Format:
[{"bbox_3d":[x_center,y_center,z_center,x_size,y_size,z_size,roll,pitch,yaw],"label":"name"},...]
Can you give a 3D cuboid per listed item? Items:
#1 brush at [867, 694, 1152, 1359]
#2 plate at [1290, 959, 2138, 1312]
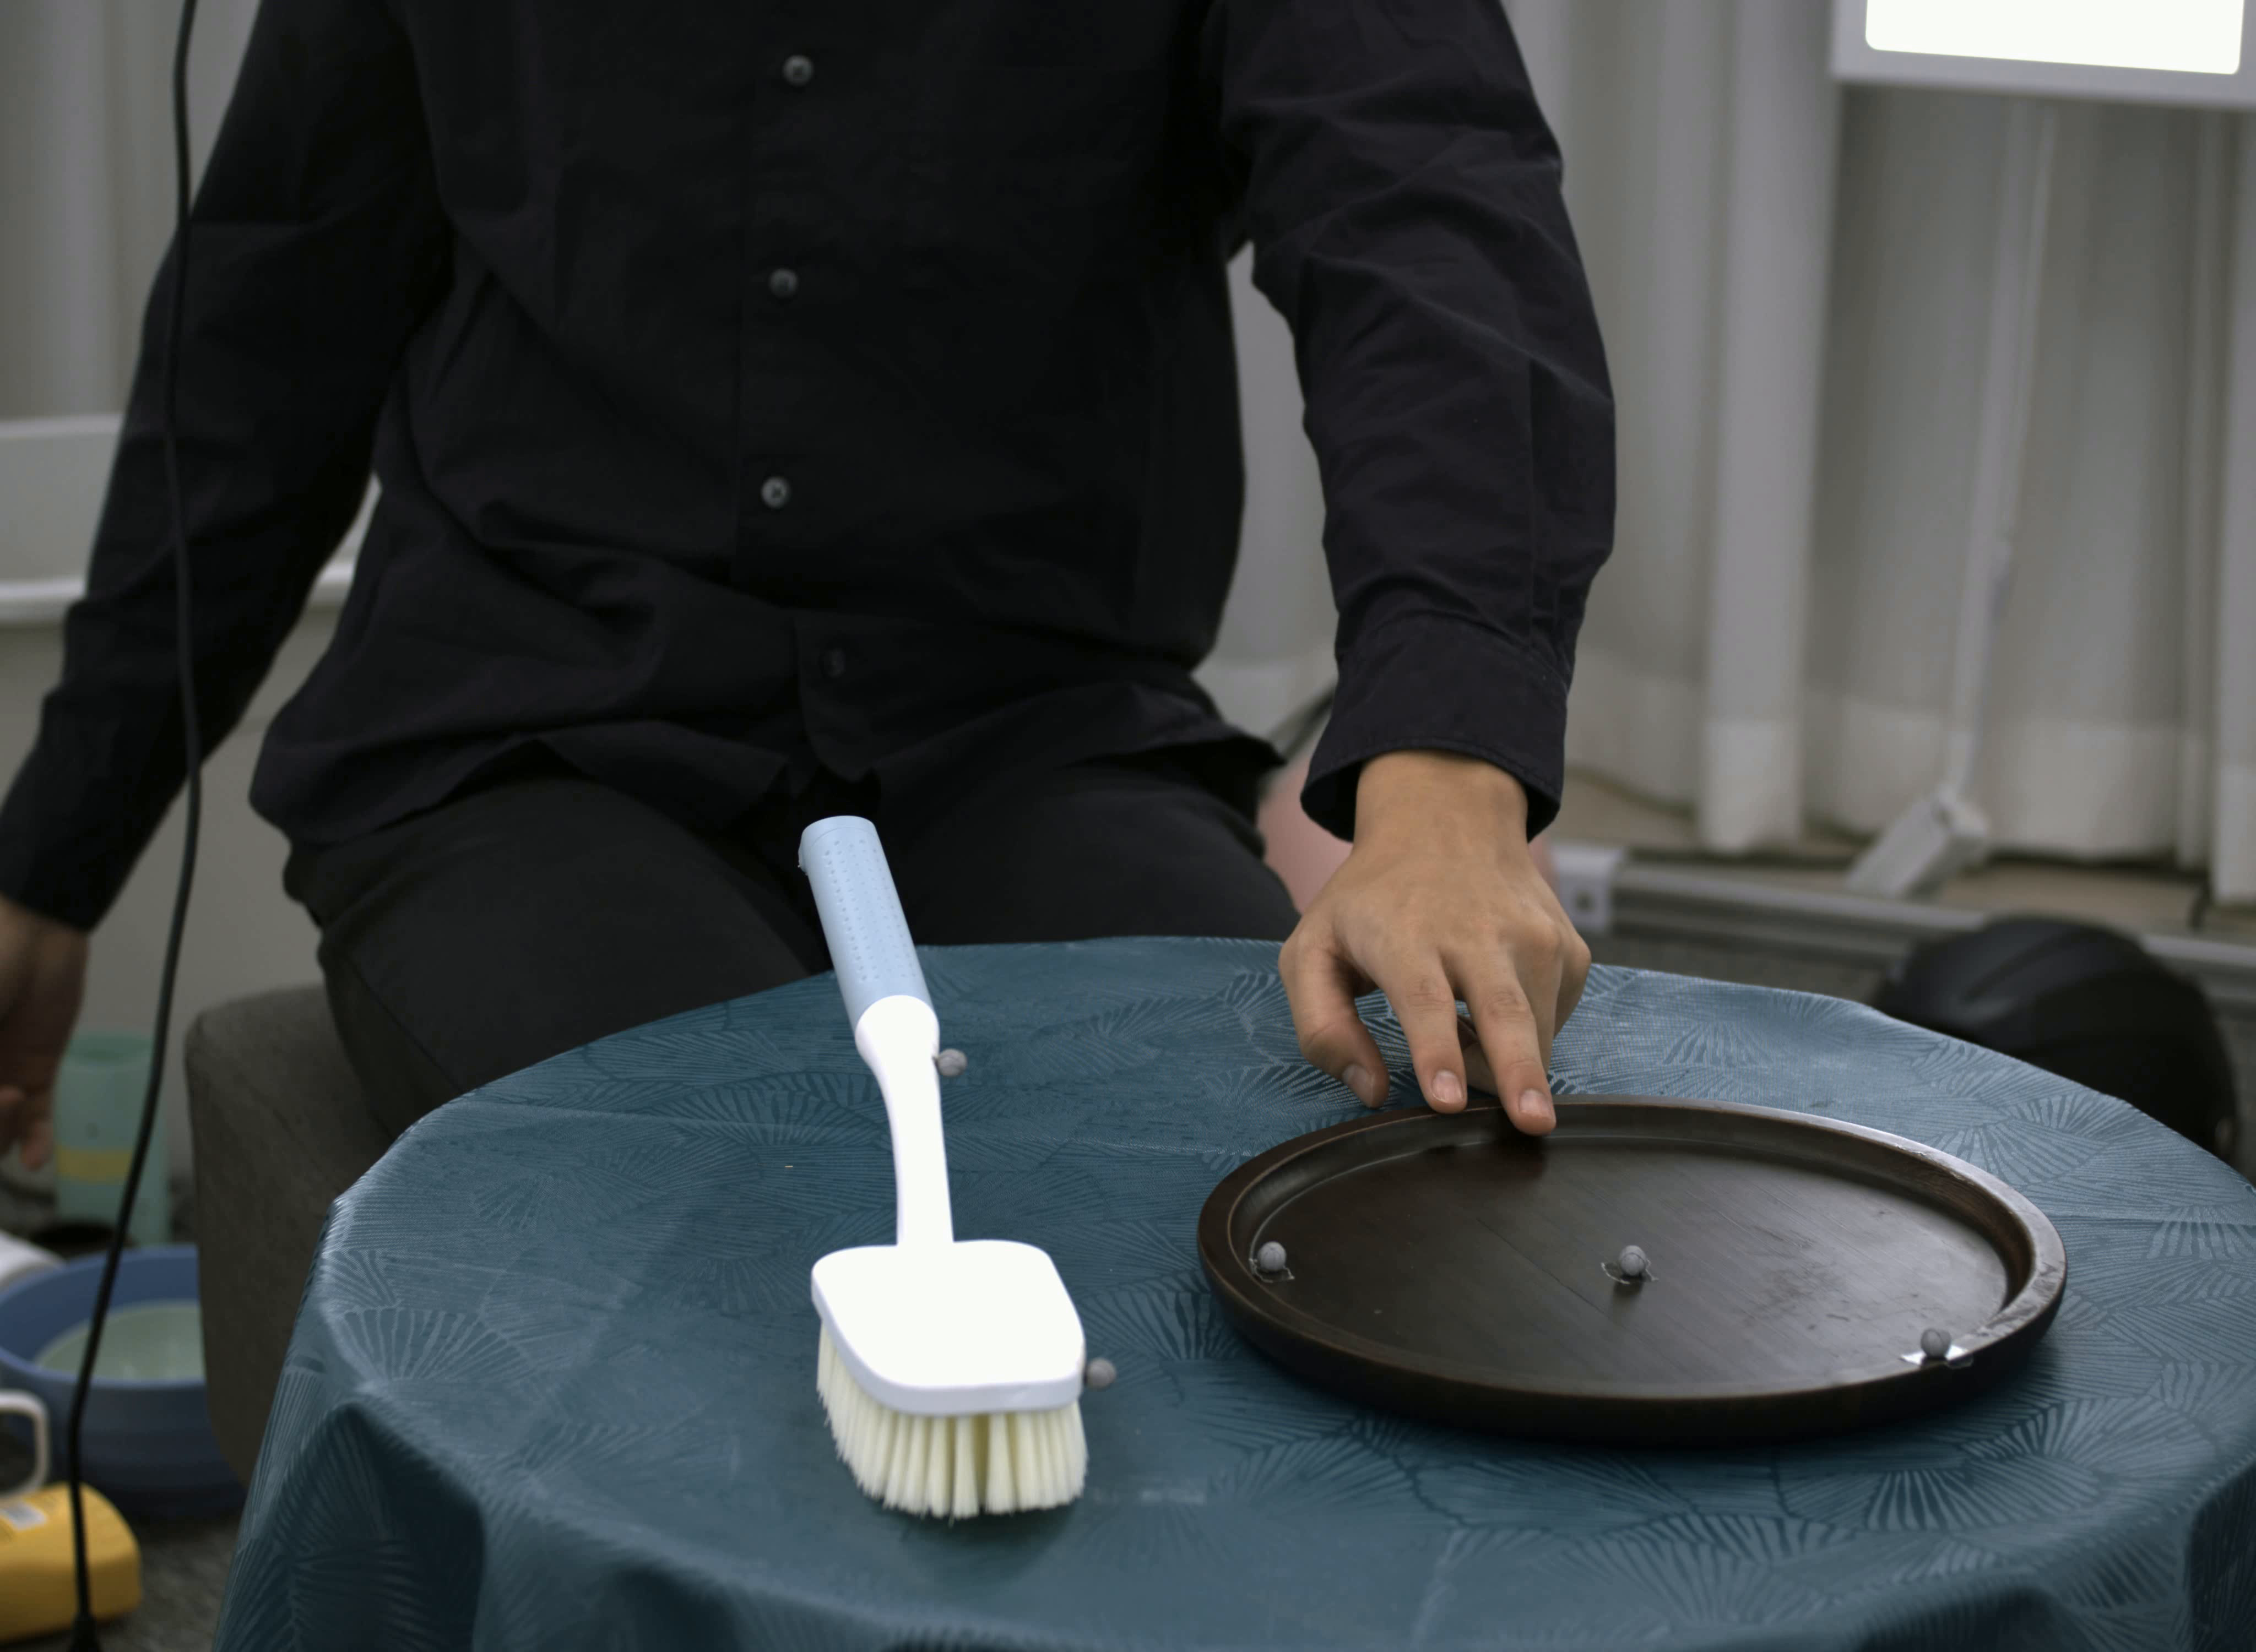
[{"bbox_3d":[-0.041,0.070,1.538,0.084,0.084,0.322,34,17,-25],"label":"brush"},{"bbox_3d":[0.174,0.091,1.575,0.254,0.029,0.253,-1,17,1],"label":"plate"}]
